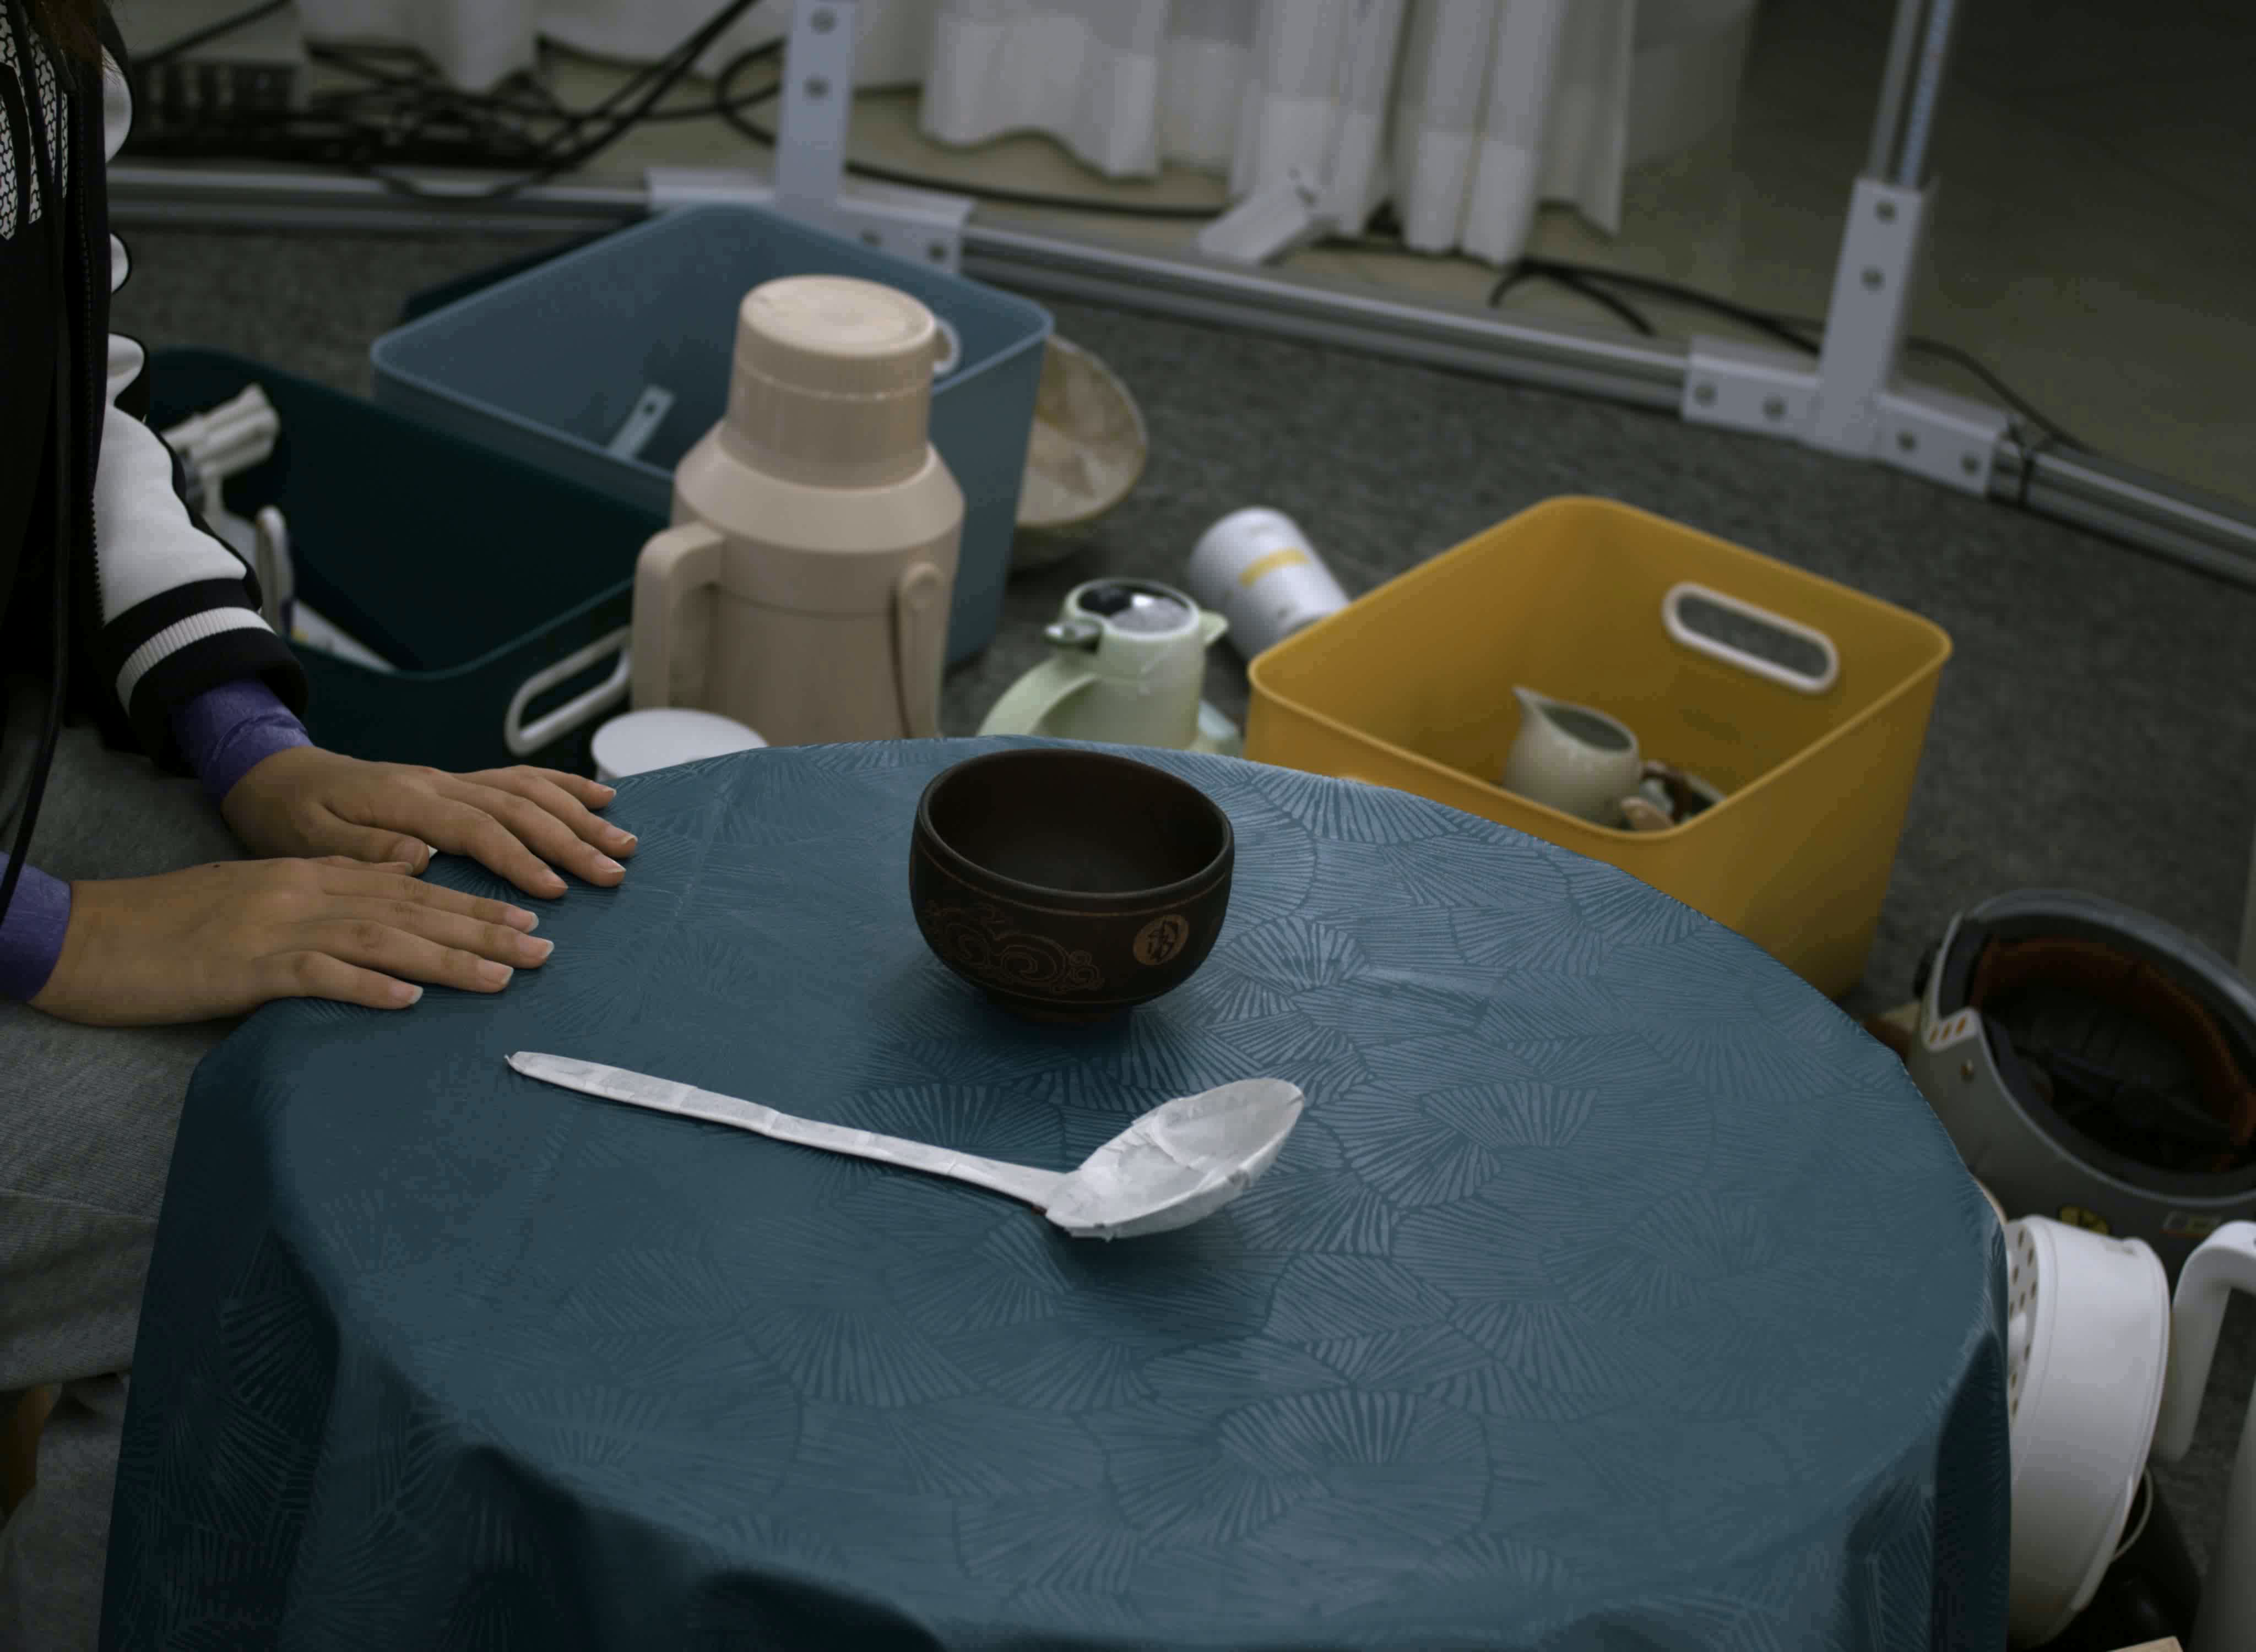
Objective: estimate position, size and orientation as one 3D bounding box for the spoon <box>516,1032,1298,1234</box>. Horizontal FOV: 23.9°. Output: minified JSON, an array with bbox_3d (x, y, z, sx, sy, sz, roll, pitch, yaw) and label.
[{"bbox_3d":[-0.077,0.084,1.800,0.278,0.059,0.101,15,24,15],"label":"spoon"}]

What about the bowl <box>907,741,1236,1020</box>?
[{"bbox_3d":[-0.022,0.026,1.907,0.117,0.069,0.119,6,27,-3],"label":"bowl"}]
